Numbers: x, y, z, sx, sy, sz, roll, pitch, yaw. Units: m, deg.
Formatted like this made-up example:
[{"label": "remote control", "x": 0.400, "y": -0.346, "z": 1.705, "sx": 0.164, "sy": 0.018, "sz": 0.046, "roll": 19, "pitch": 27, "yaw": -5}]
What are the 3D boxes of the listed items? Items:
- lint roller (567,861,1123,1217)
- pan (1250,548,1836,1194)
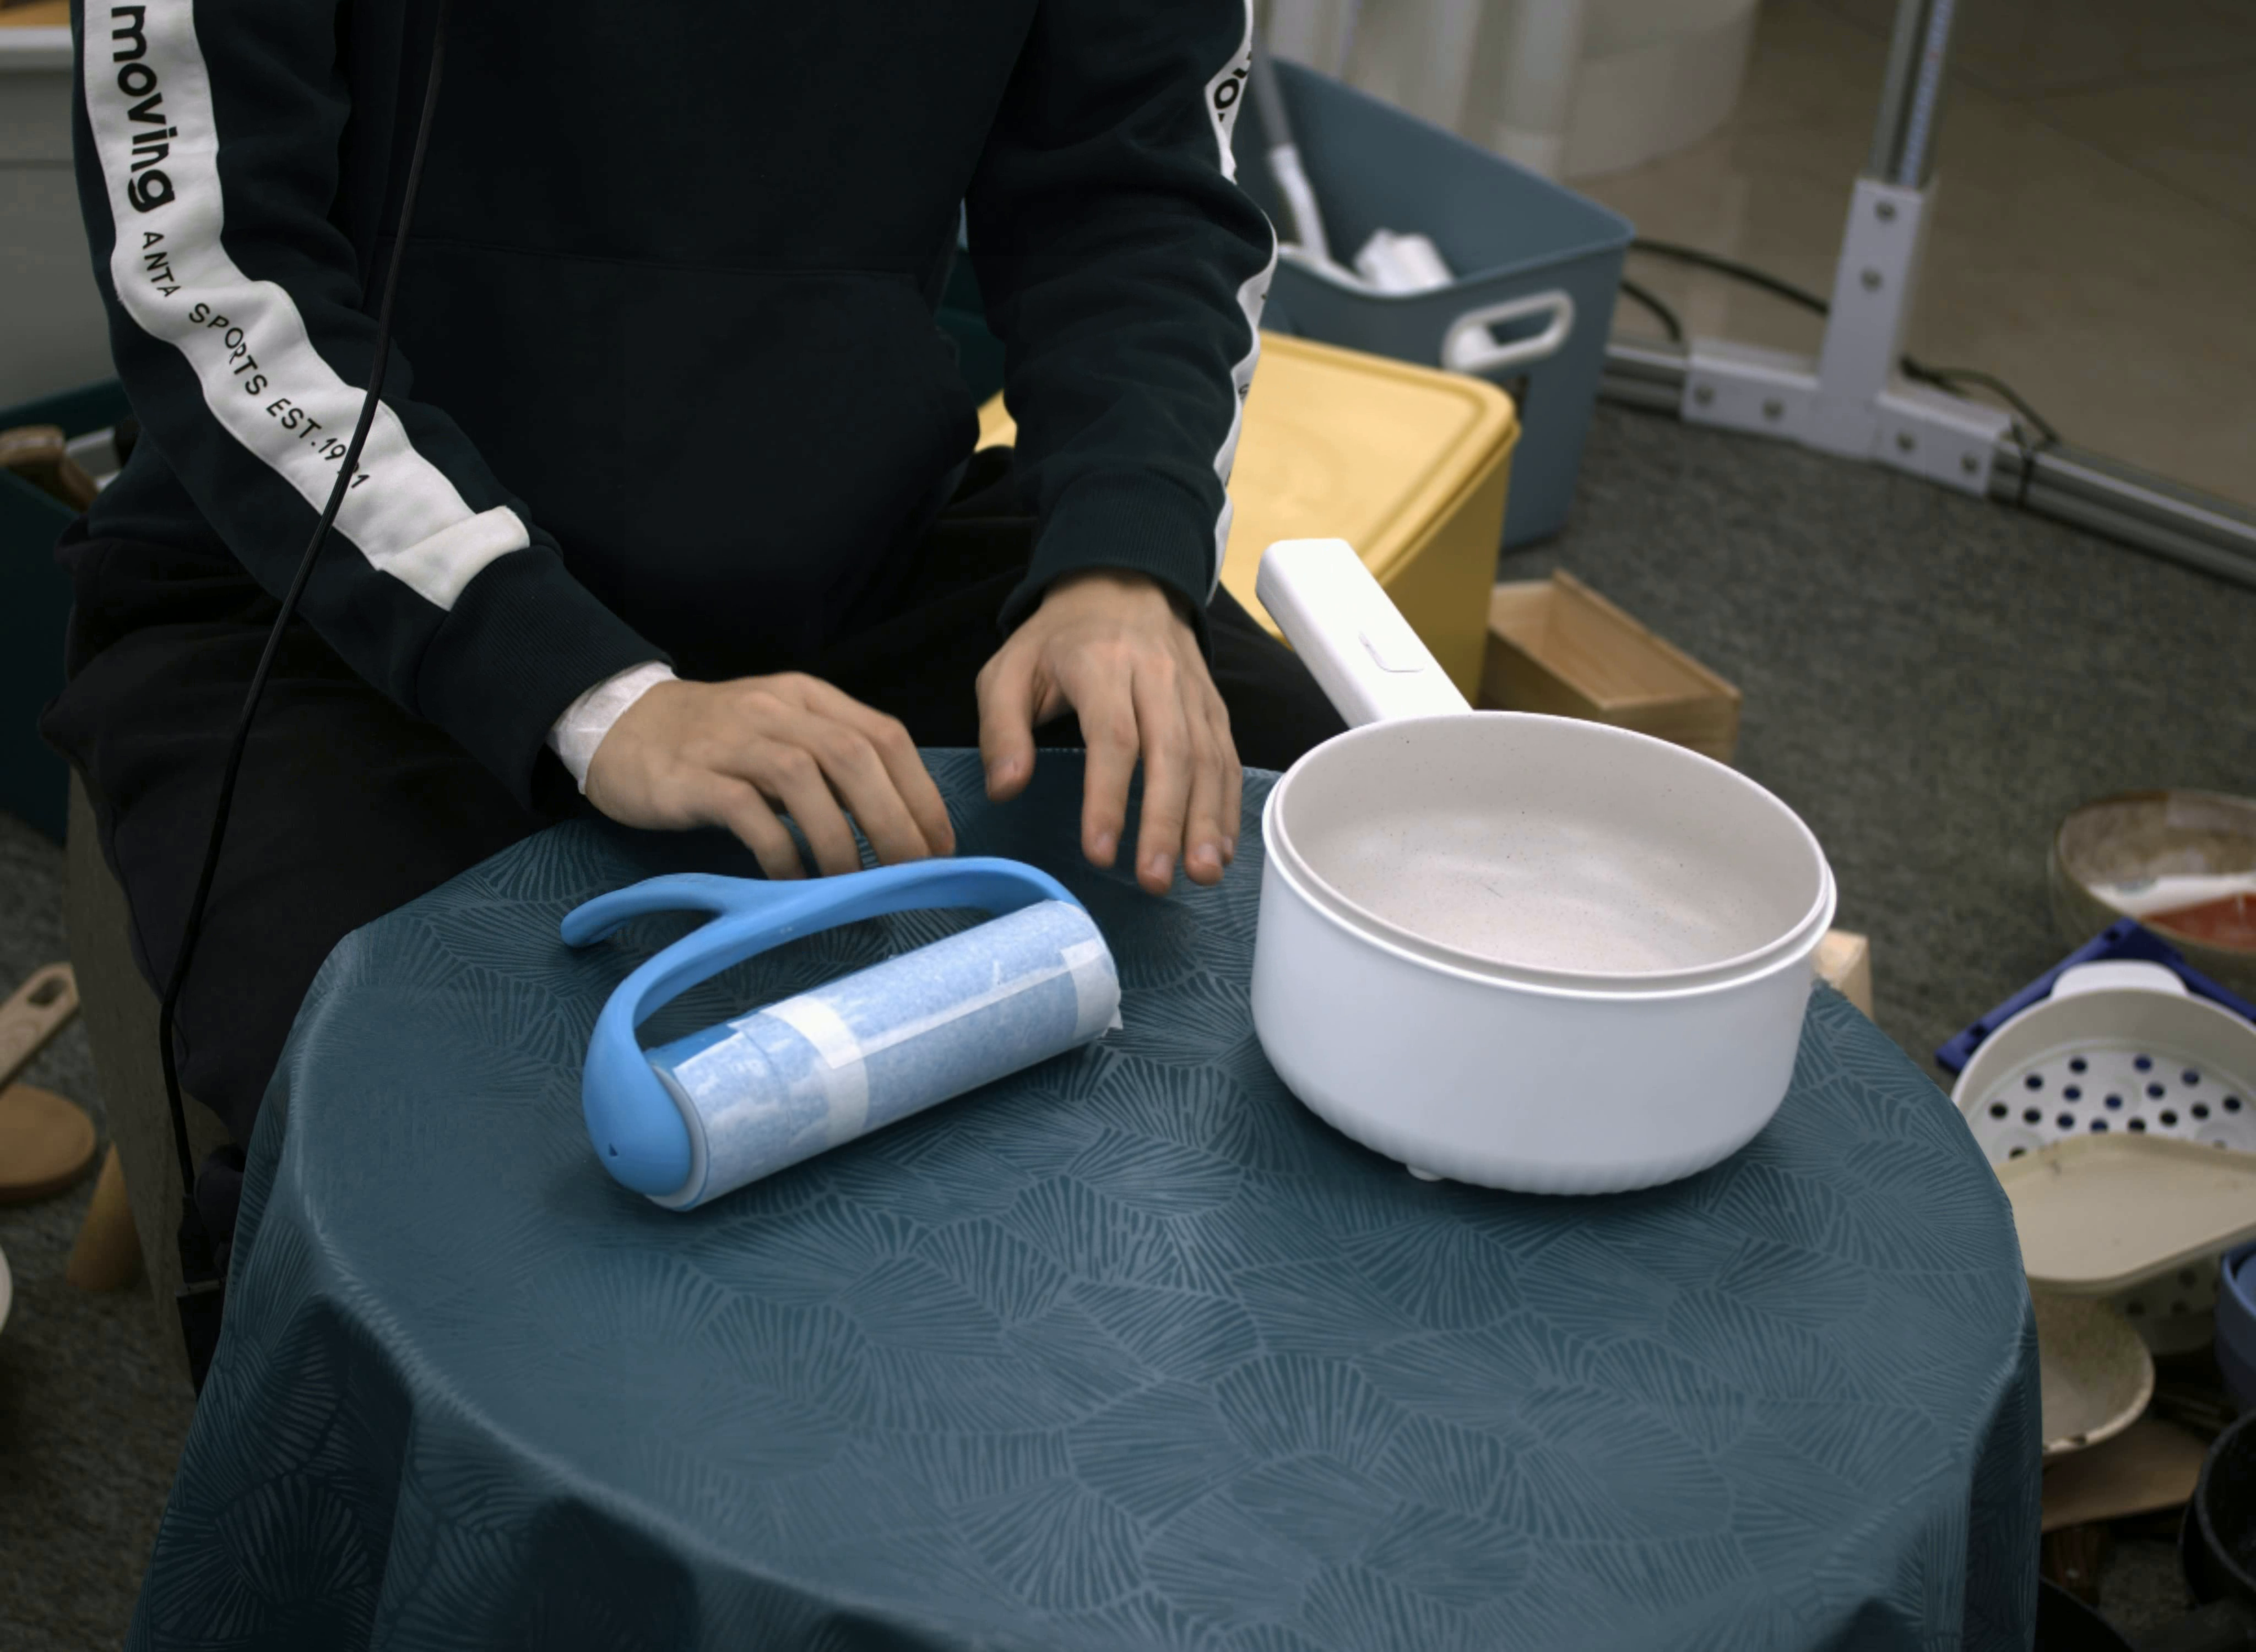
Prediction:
[{"label": "lint roller", "x": -0.131, "y": 0.054, "z": 1.845, "sx": 0.181, "sy": 0.067, "sz": 0.228, "roll": 28, "pitch": 35, "yaw": 34}, {"label": "pan", "x": 0.119, "y": 0.014, "z": 1.932, "sx": 0.200, "sy": 0.102, "sz": 0.358, "roll": -3, "pitch": 27, "yaw": -18}]
